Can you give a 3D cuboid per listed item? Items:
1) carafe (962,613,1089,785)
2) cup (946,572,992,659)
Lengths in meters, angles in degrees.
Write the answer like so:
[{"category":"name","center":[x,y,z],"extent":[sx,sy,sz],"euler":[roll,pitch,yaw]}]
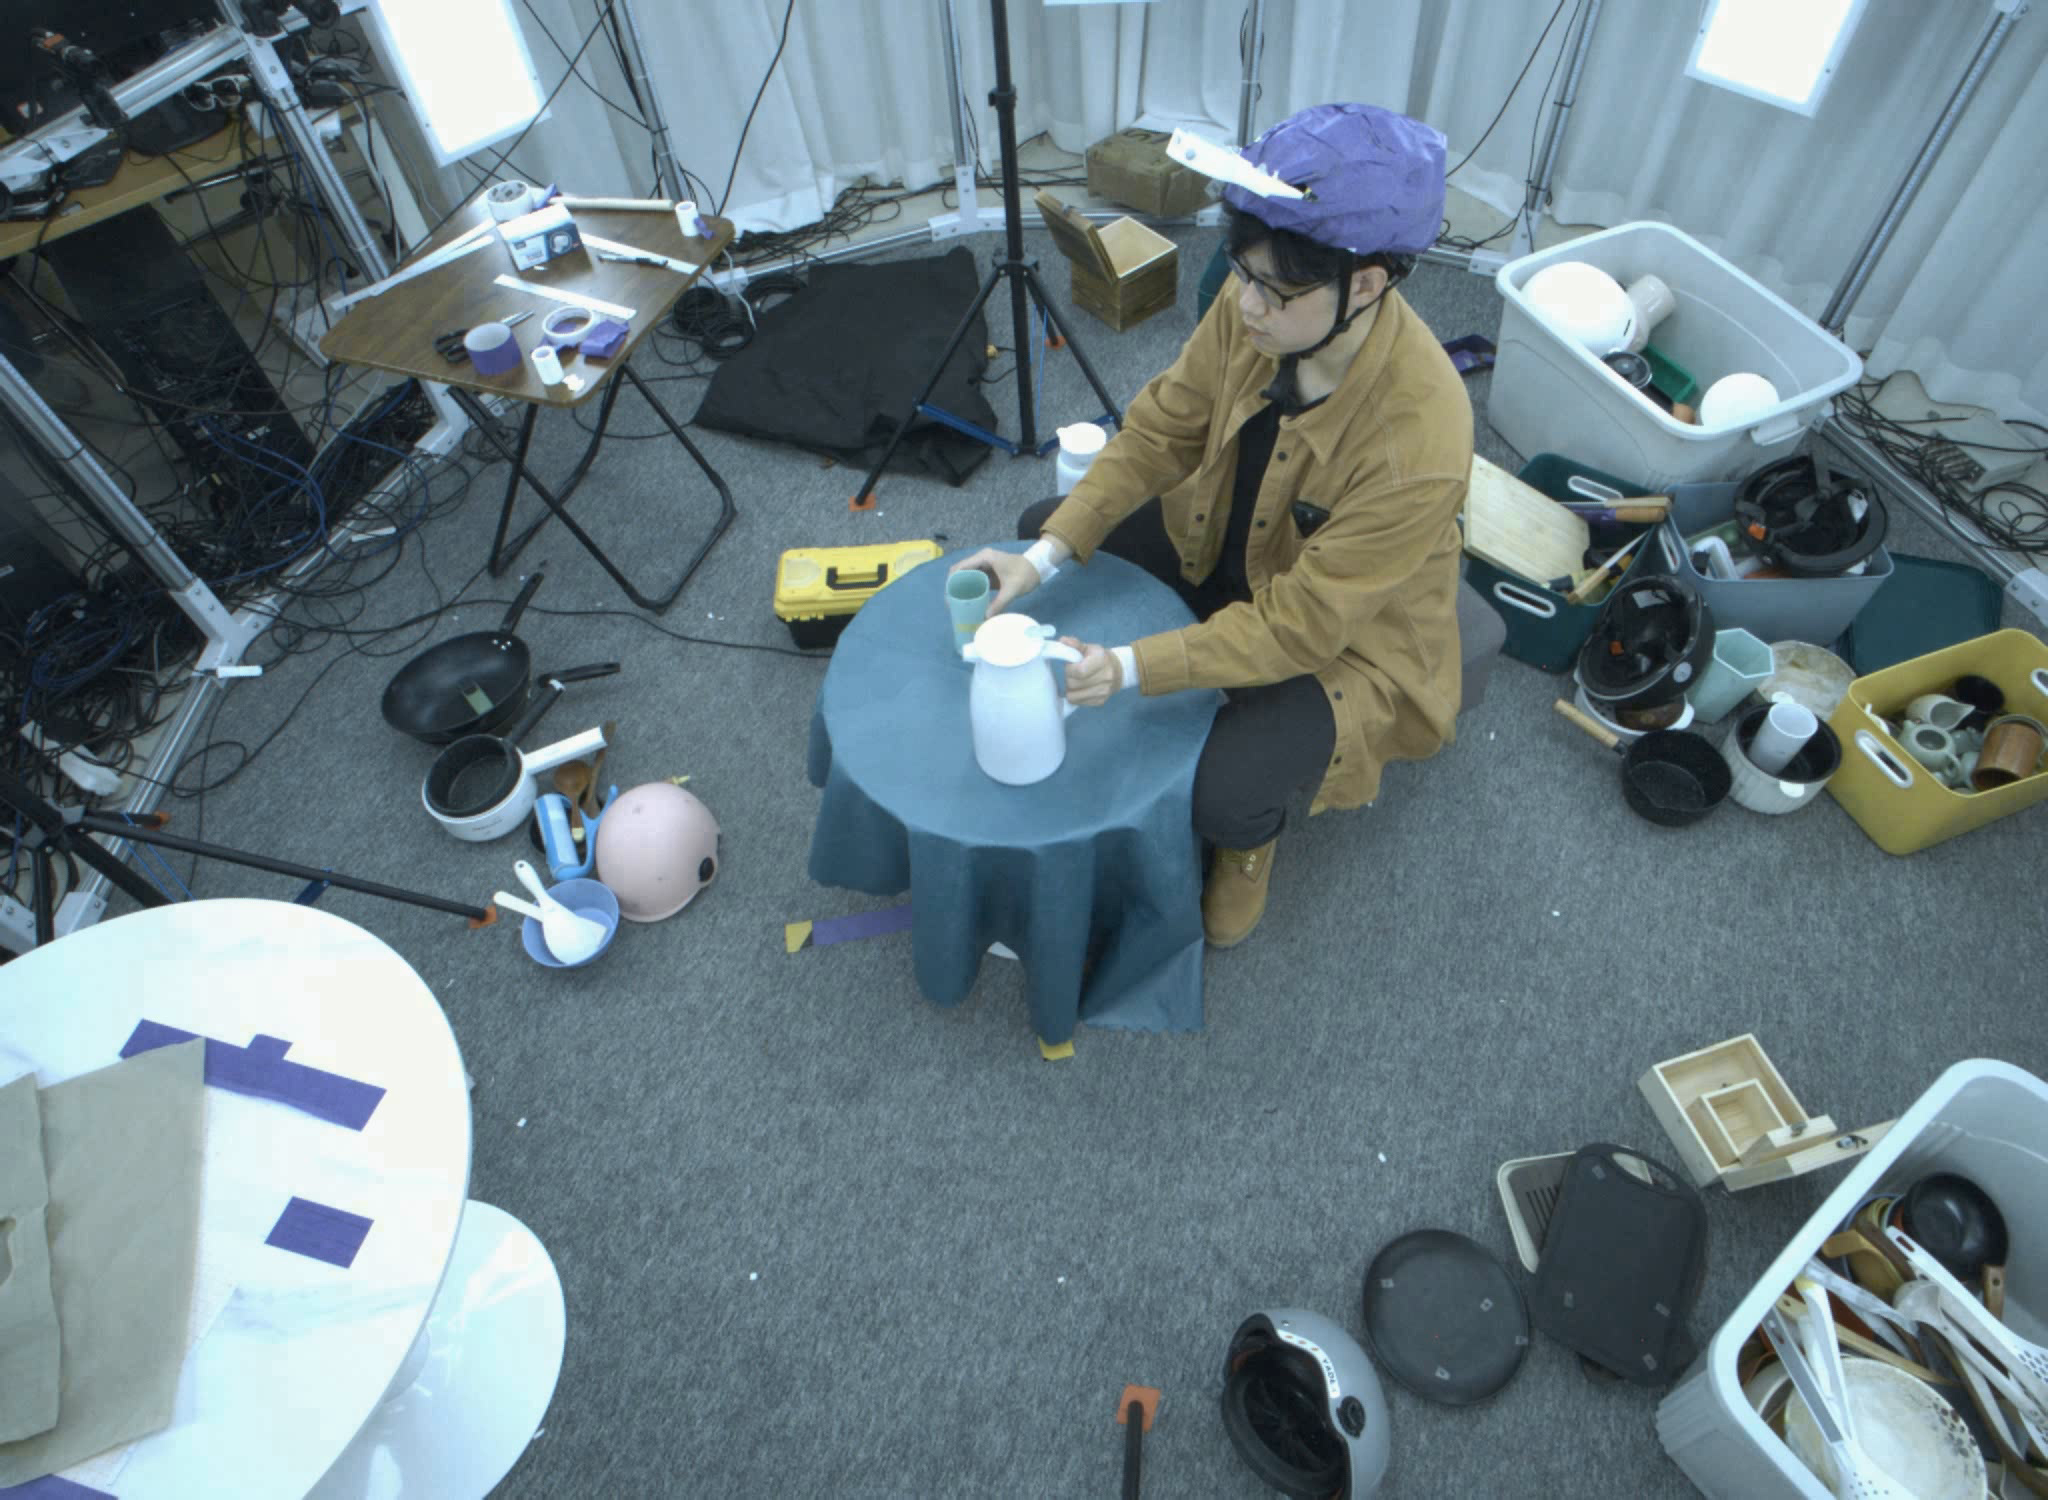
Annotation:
[{"category":"carafe","center":[0.006,-0.078,1.686],"extent":[0.168,0.251,0.131],"euler":[-7,54,-2]},{"category":"cup","center":[-0.080,-0.203,1.854],"extent":[0.066,0.134,0.066],"euler":[-1,54,3]}]
